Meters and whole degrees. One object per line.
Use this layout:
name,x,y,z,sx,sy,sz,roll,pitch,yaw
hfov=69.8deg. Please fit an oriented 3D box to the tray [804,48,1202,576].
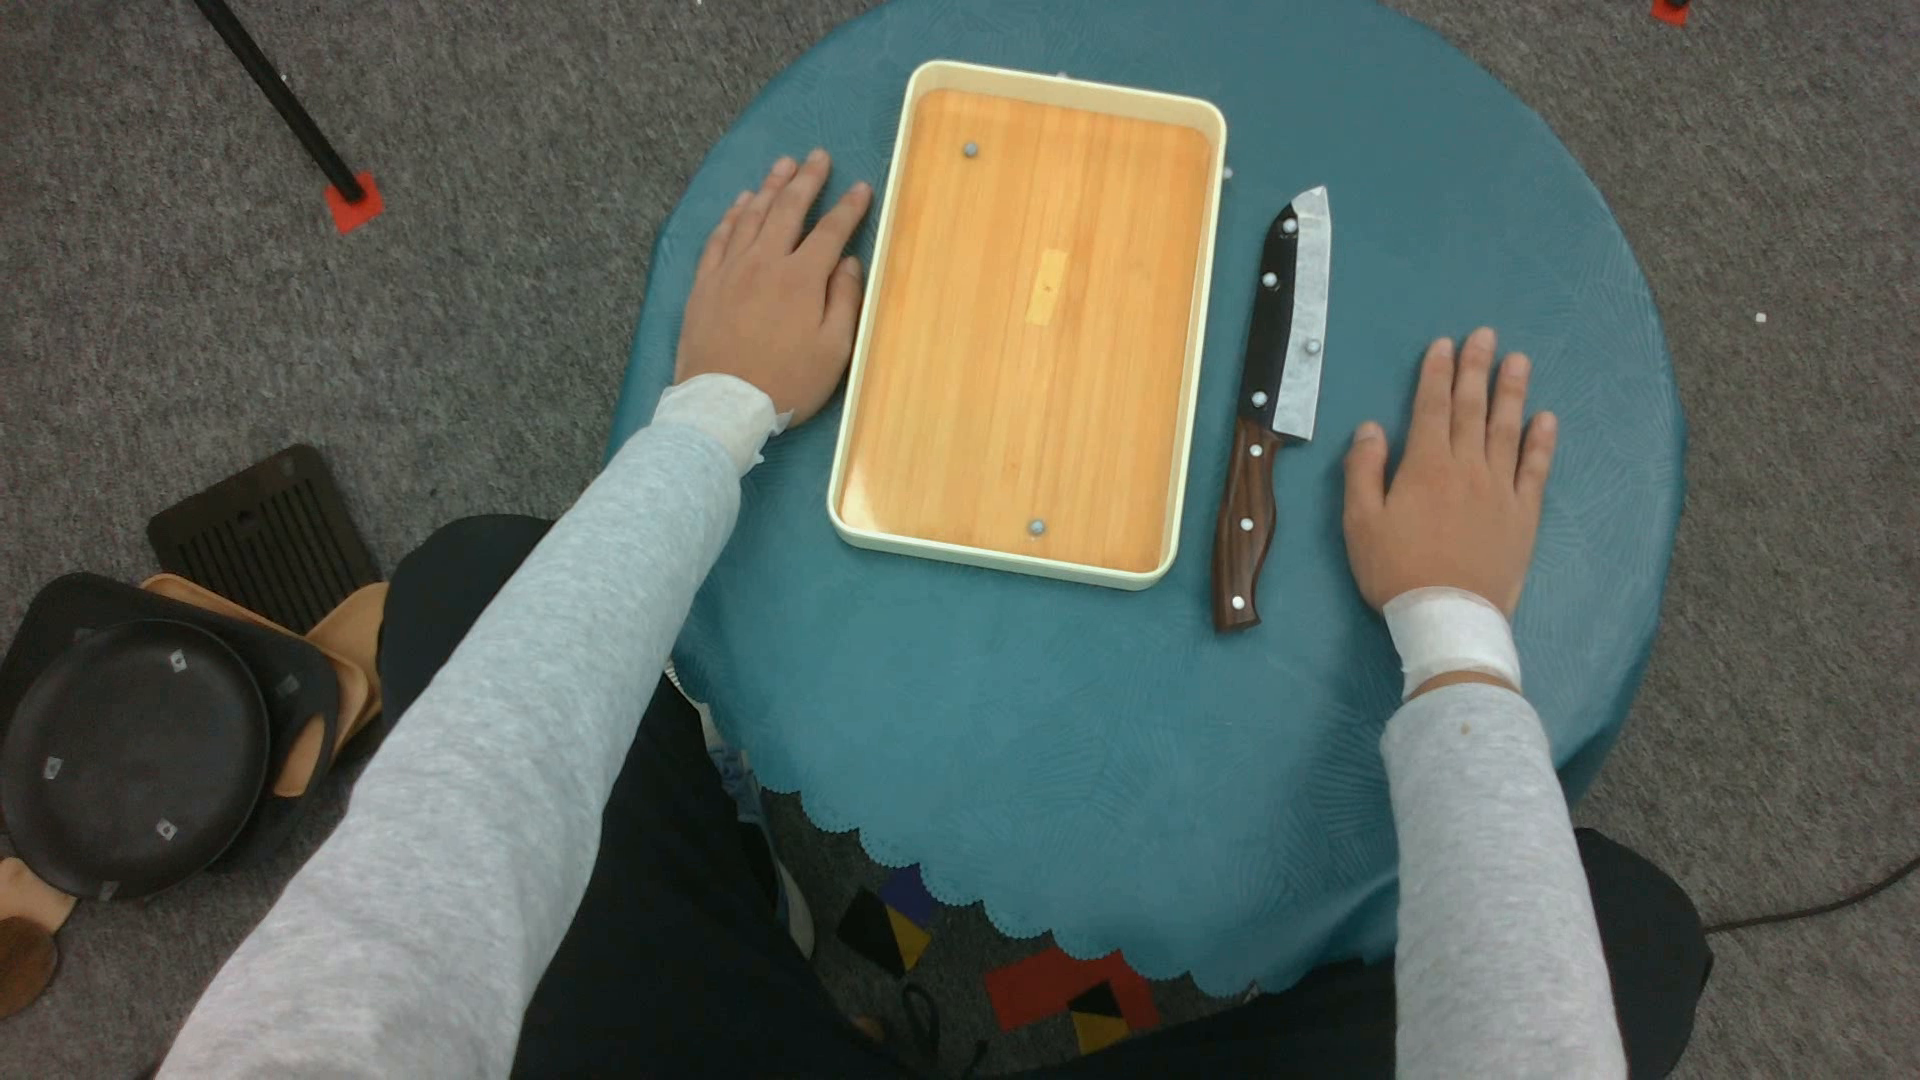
tray,0.029,-0.136,0.782,0.191,0.027,0.301,9,73,0

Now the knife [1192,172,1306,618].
knife,0.166,-0.090,0.781,0.050,0.020,0.290,15,70,-3
